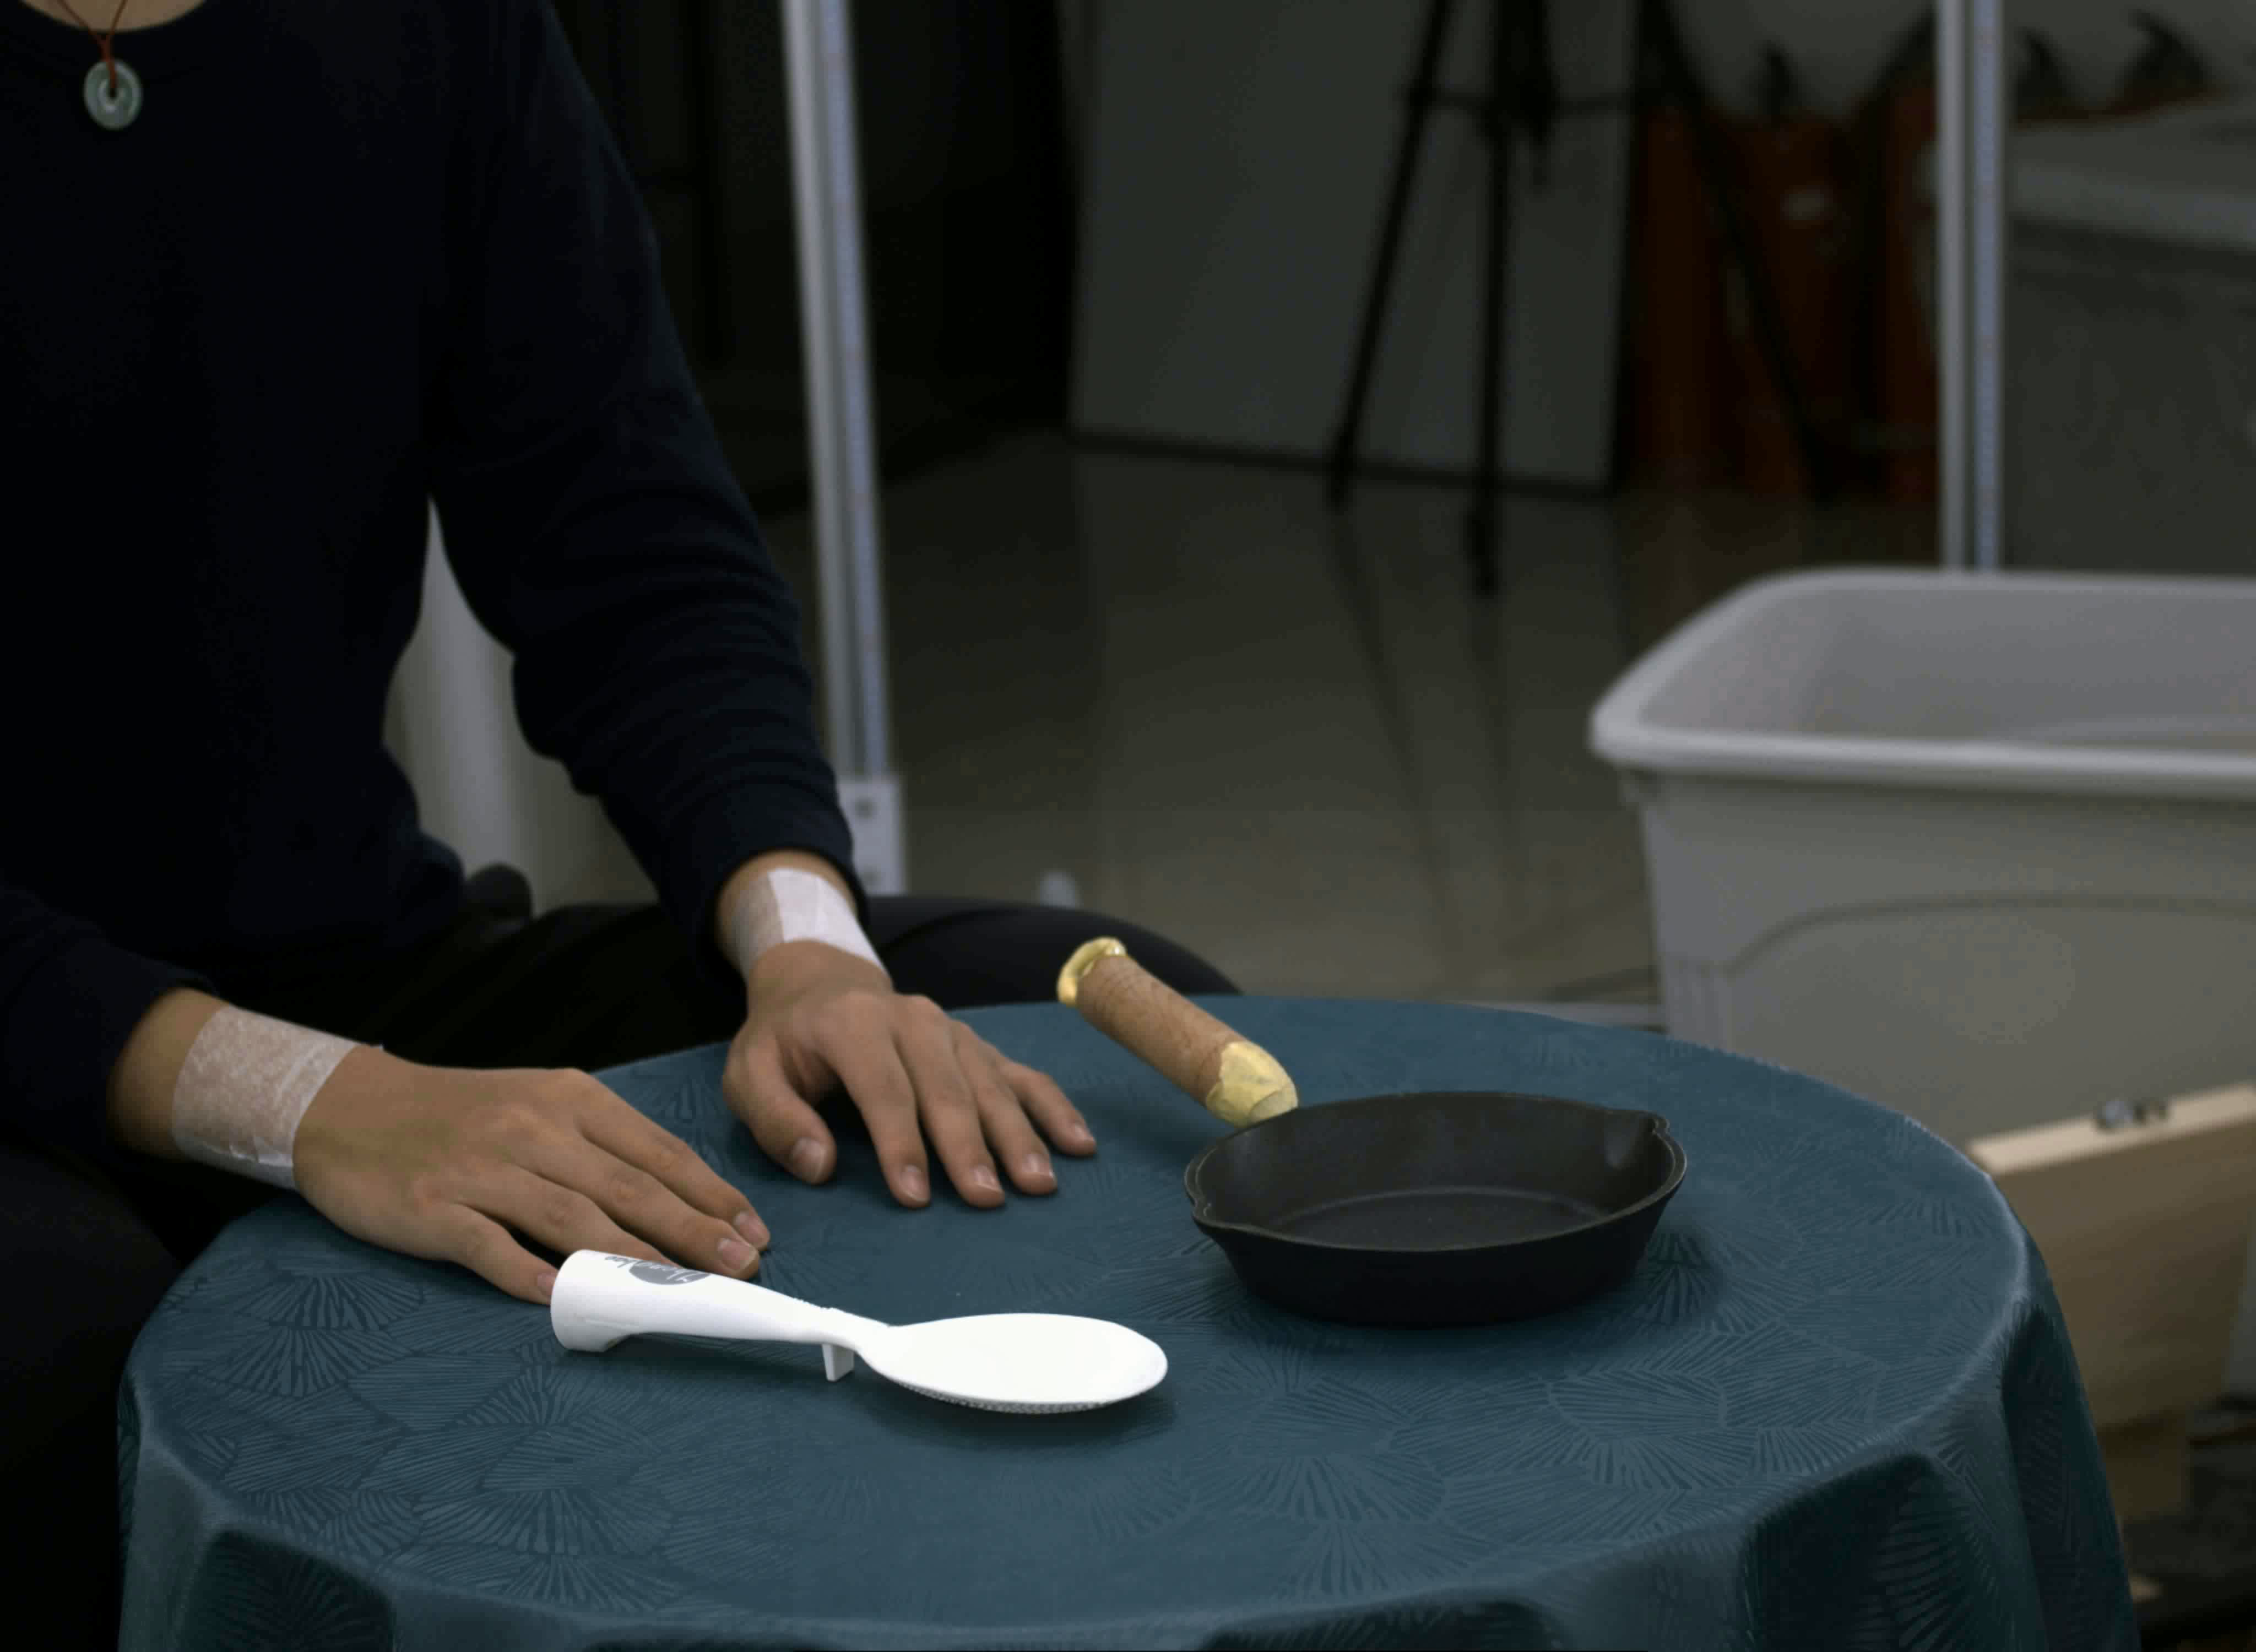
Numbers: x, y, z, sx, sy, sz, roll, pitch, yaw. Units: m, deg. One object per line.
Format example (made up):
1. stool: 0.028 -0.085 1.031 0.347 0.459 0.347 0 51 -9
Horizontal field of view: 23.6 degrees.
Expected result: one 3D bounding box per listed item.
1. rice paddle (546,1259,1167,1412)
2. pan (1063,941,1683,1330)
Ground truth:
1. rice paddle: -0.081 0.152 1.609 0.206 0.030 0.068 3 17 29
2. pan: 0.058 0.096 1.749 0.165 0.050 0.327 -11 17 -24
